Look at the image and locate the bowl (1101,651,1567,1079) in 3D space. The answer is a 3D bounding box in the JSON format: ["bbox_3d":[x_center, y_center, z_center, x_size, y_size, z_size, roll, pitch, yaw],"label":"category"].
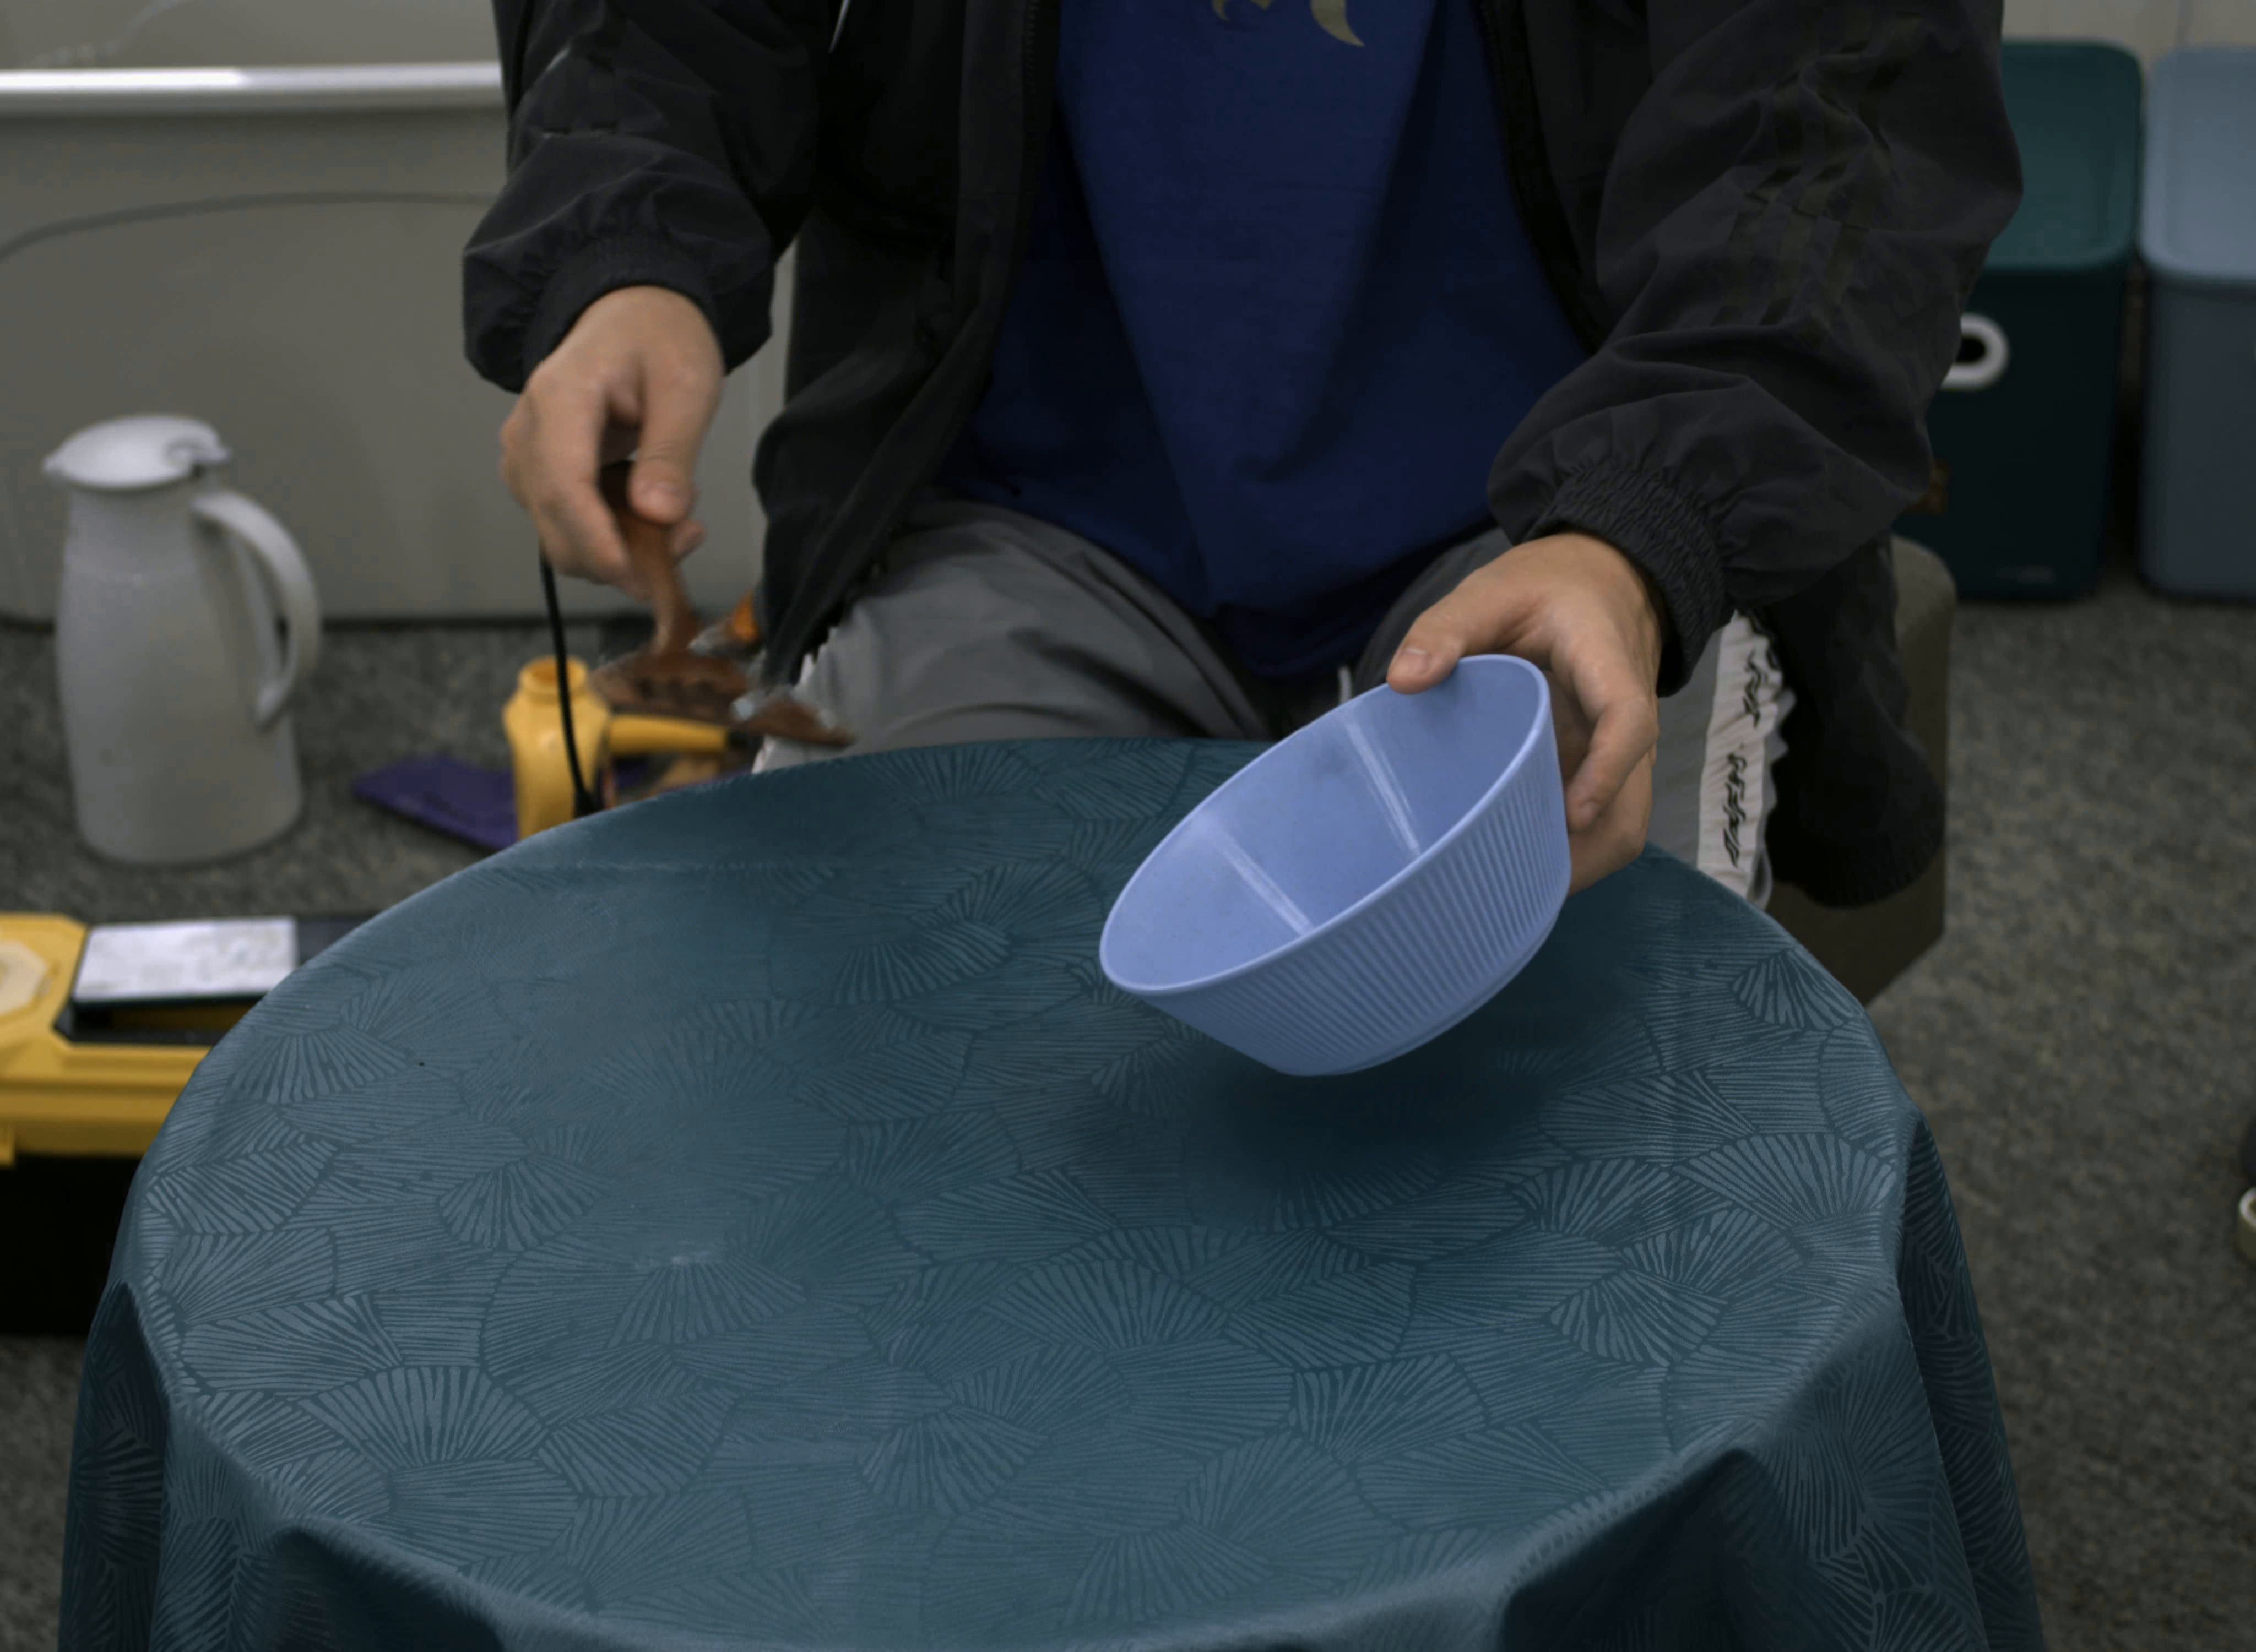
[{"bbox_3d":[0.080,0.023,1.871,0.174,0.070,0.178,-32,19,12],"label":"bowl"}]

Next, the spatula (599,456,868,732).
[{"bbox_3d":[-0.157,-0.081,1.972,0.085,0.024,0.389,10,14,-14],"label":"spatula"}]
